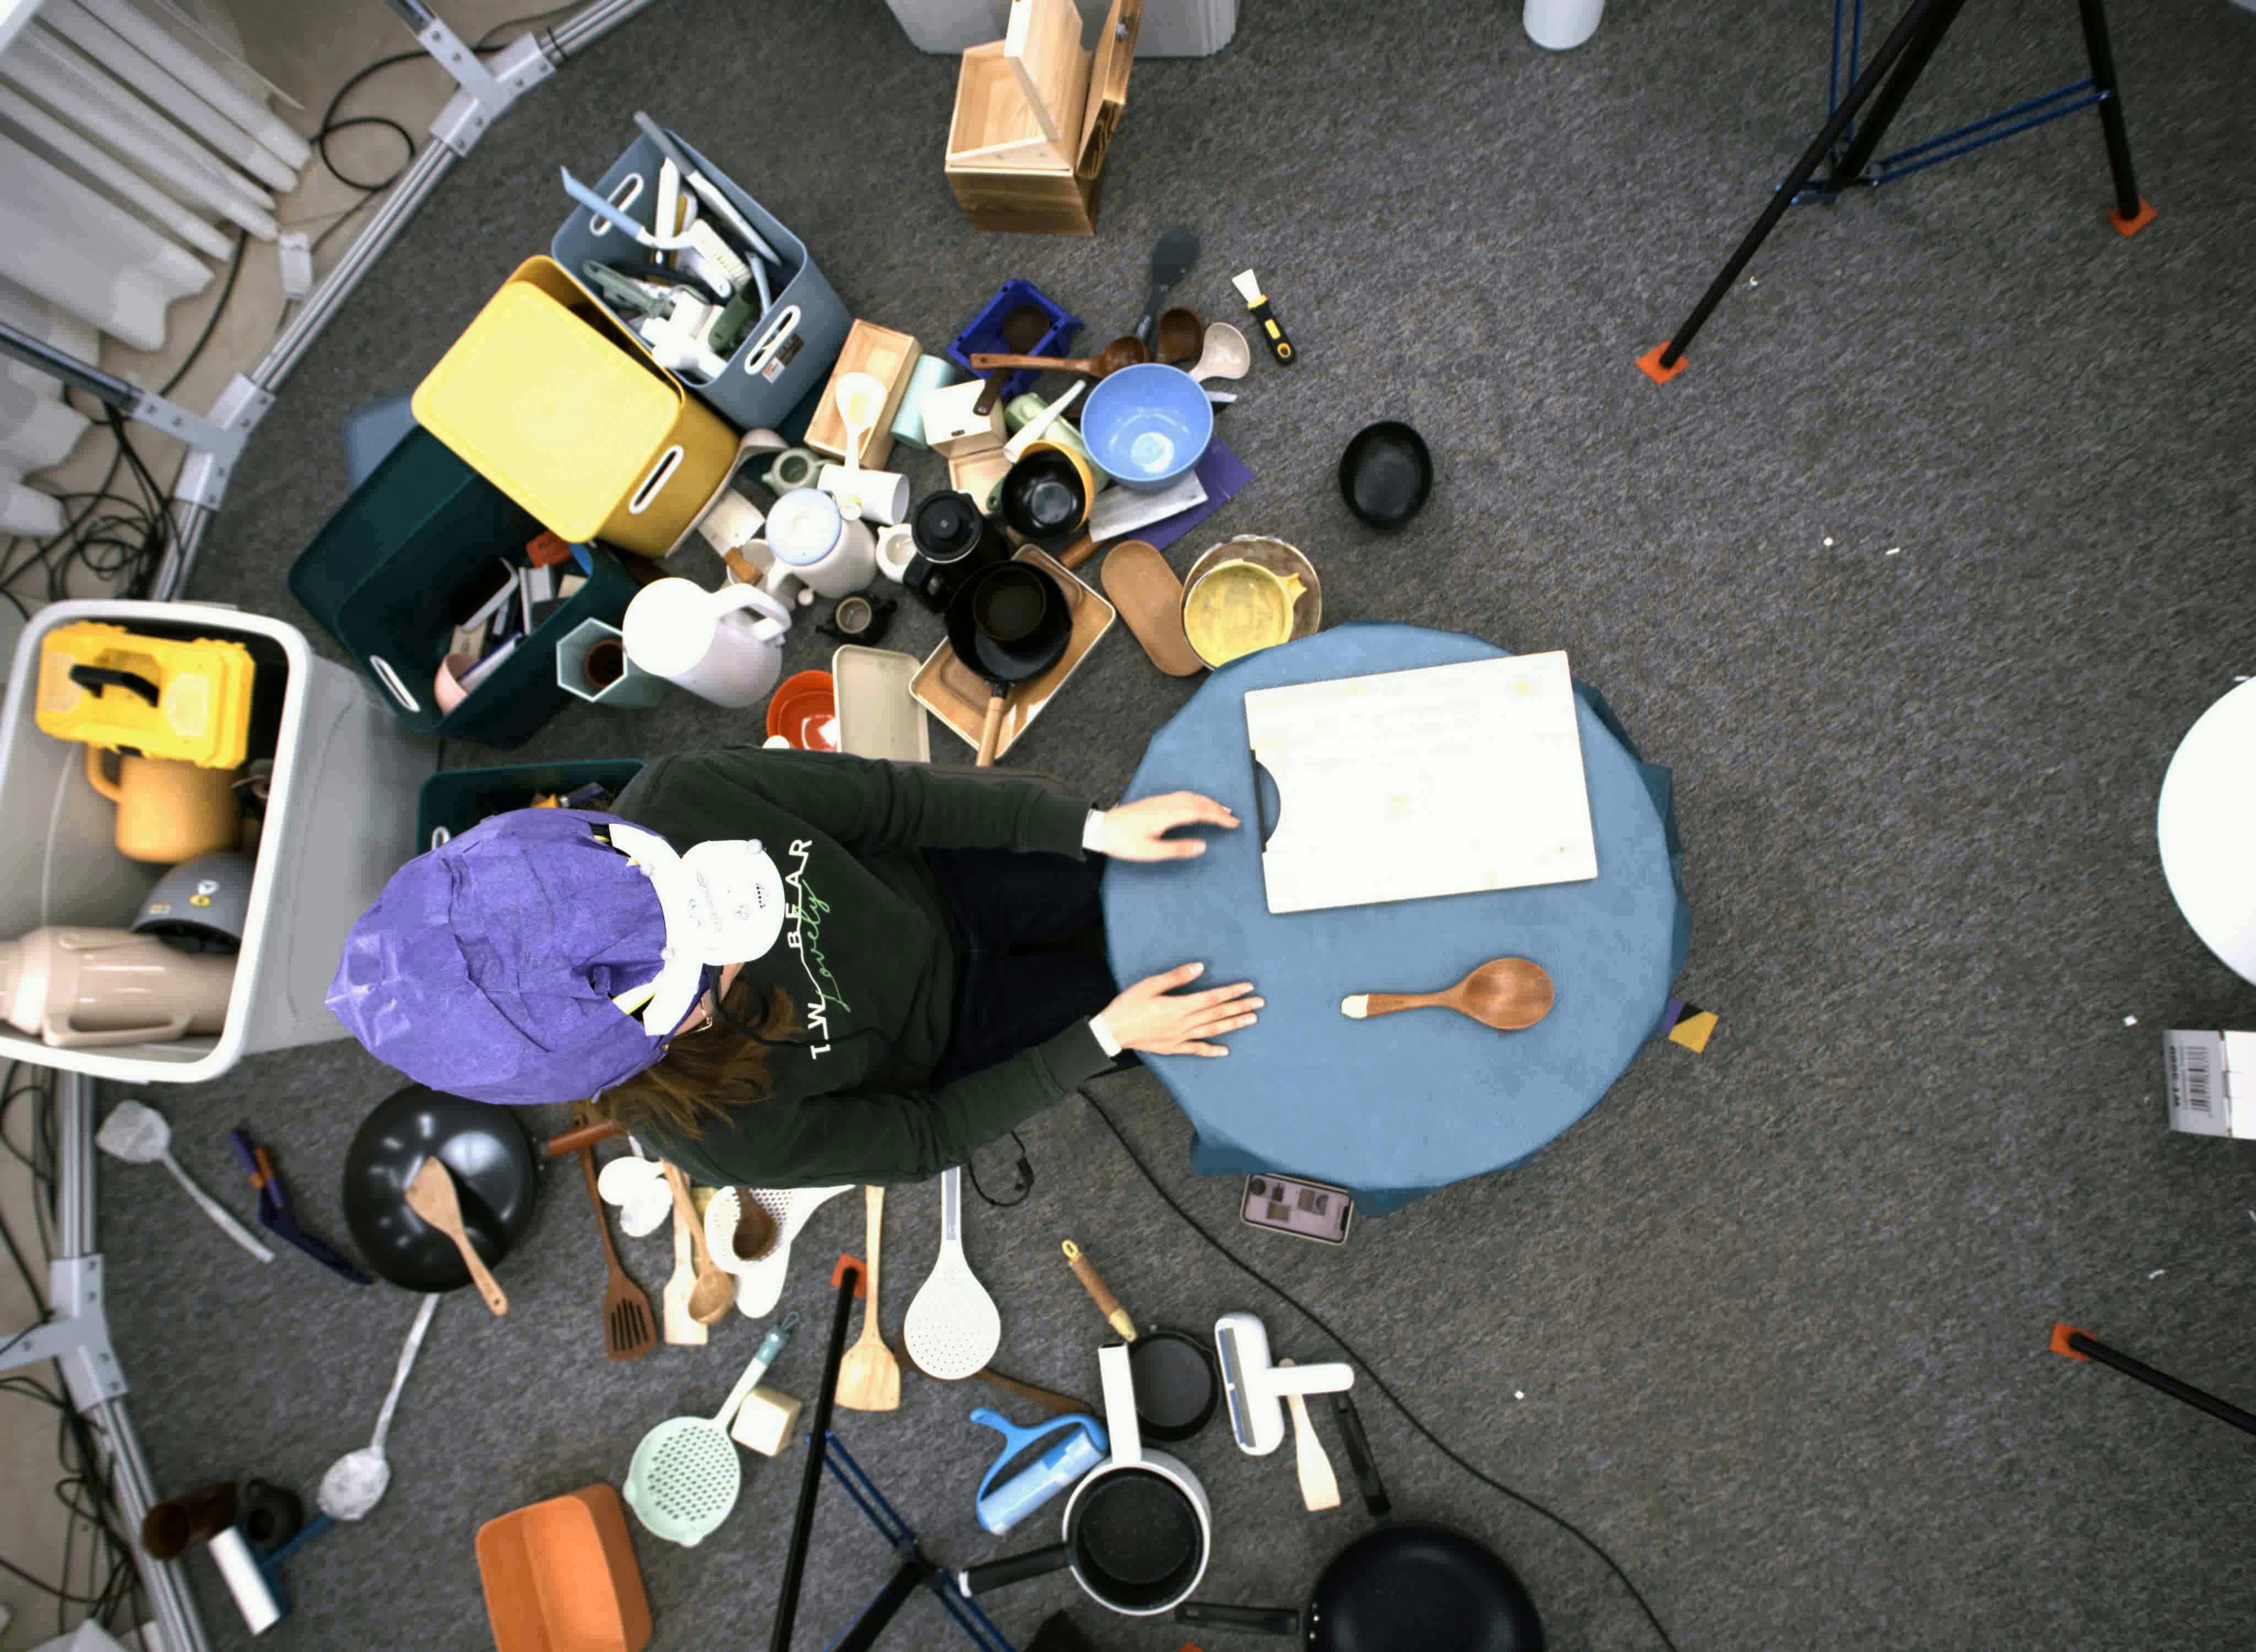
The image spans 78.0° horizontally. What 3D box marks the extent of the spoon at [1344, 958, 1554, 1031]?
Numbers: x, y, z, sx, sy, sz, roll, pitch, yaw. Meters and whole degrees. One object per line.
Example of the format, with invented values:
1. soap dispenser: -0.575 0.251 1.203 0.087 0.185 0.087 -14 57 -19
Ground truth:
1. spoon: 0.333 0.179 1.437 0.217 0.017 0.075 -6 86 9

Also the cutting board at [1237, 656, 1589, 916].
1. cutting board: 0.301 -0.043 1.459 0.350 0.023 0.249 -8 84 10
